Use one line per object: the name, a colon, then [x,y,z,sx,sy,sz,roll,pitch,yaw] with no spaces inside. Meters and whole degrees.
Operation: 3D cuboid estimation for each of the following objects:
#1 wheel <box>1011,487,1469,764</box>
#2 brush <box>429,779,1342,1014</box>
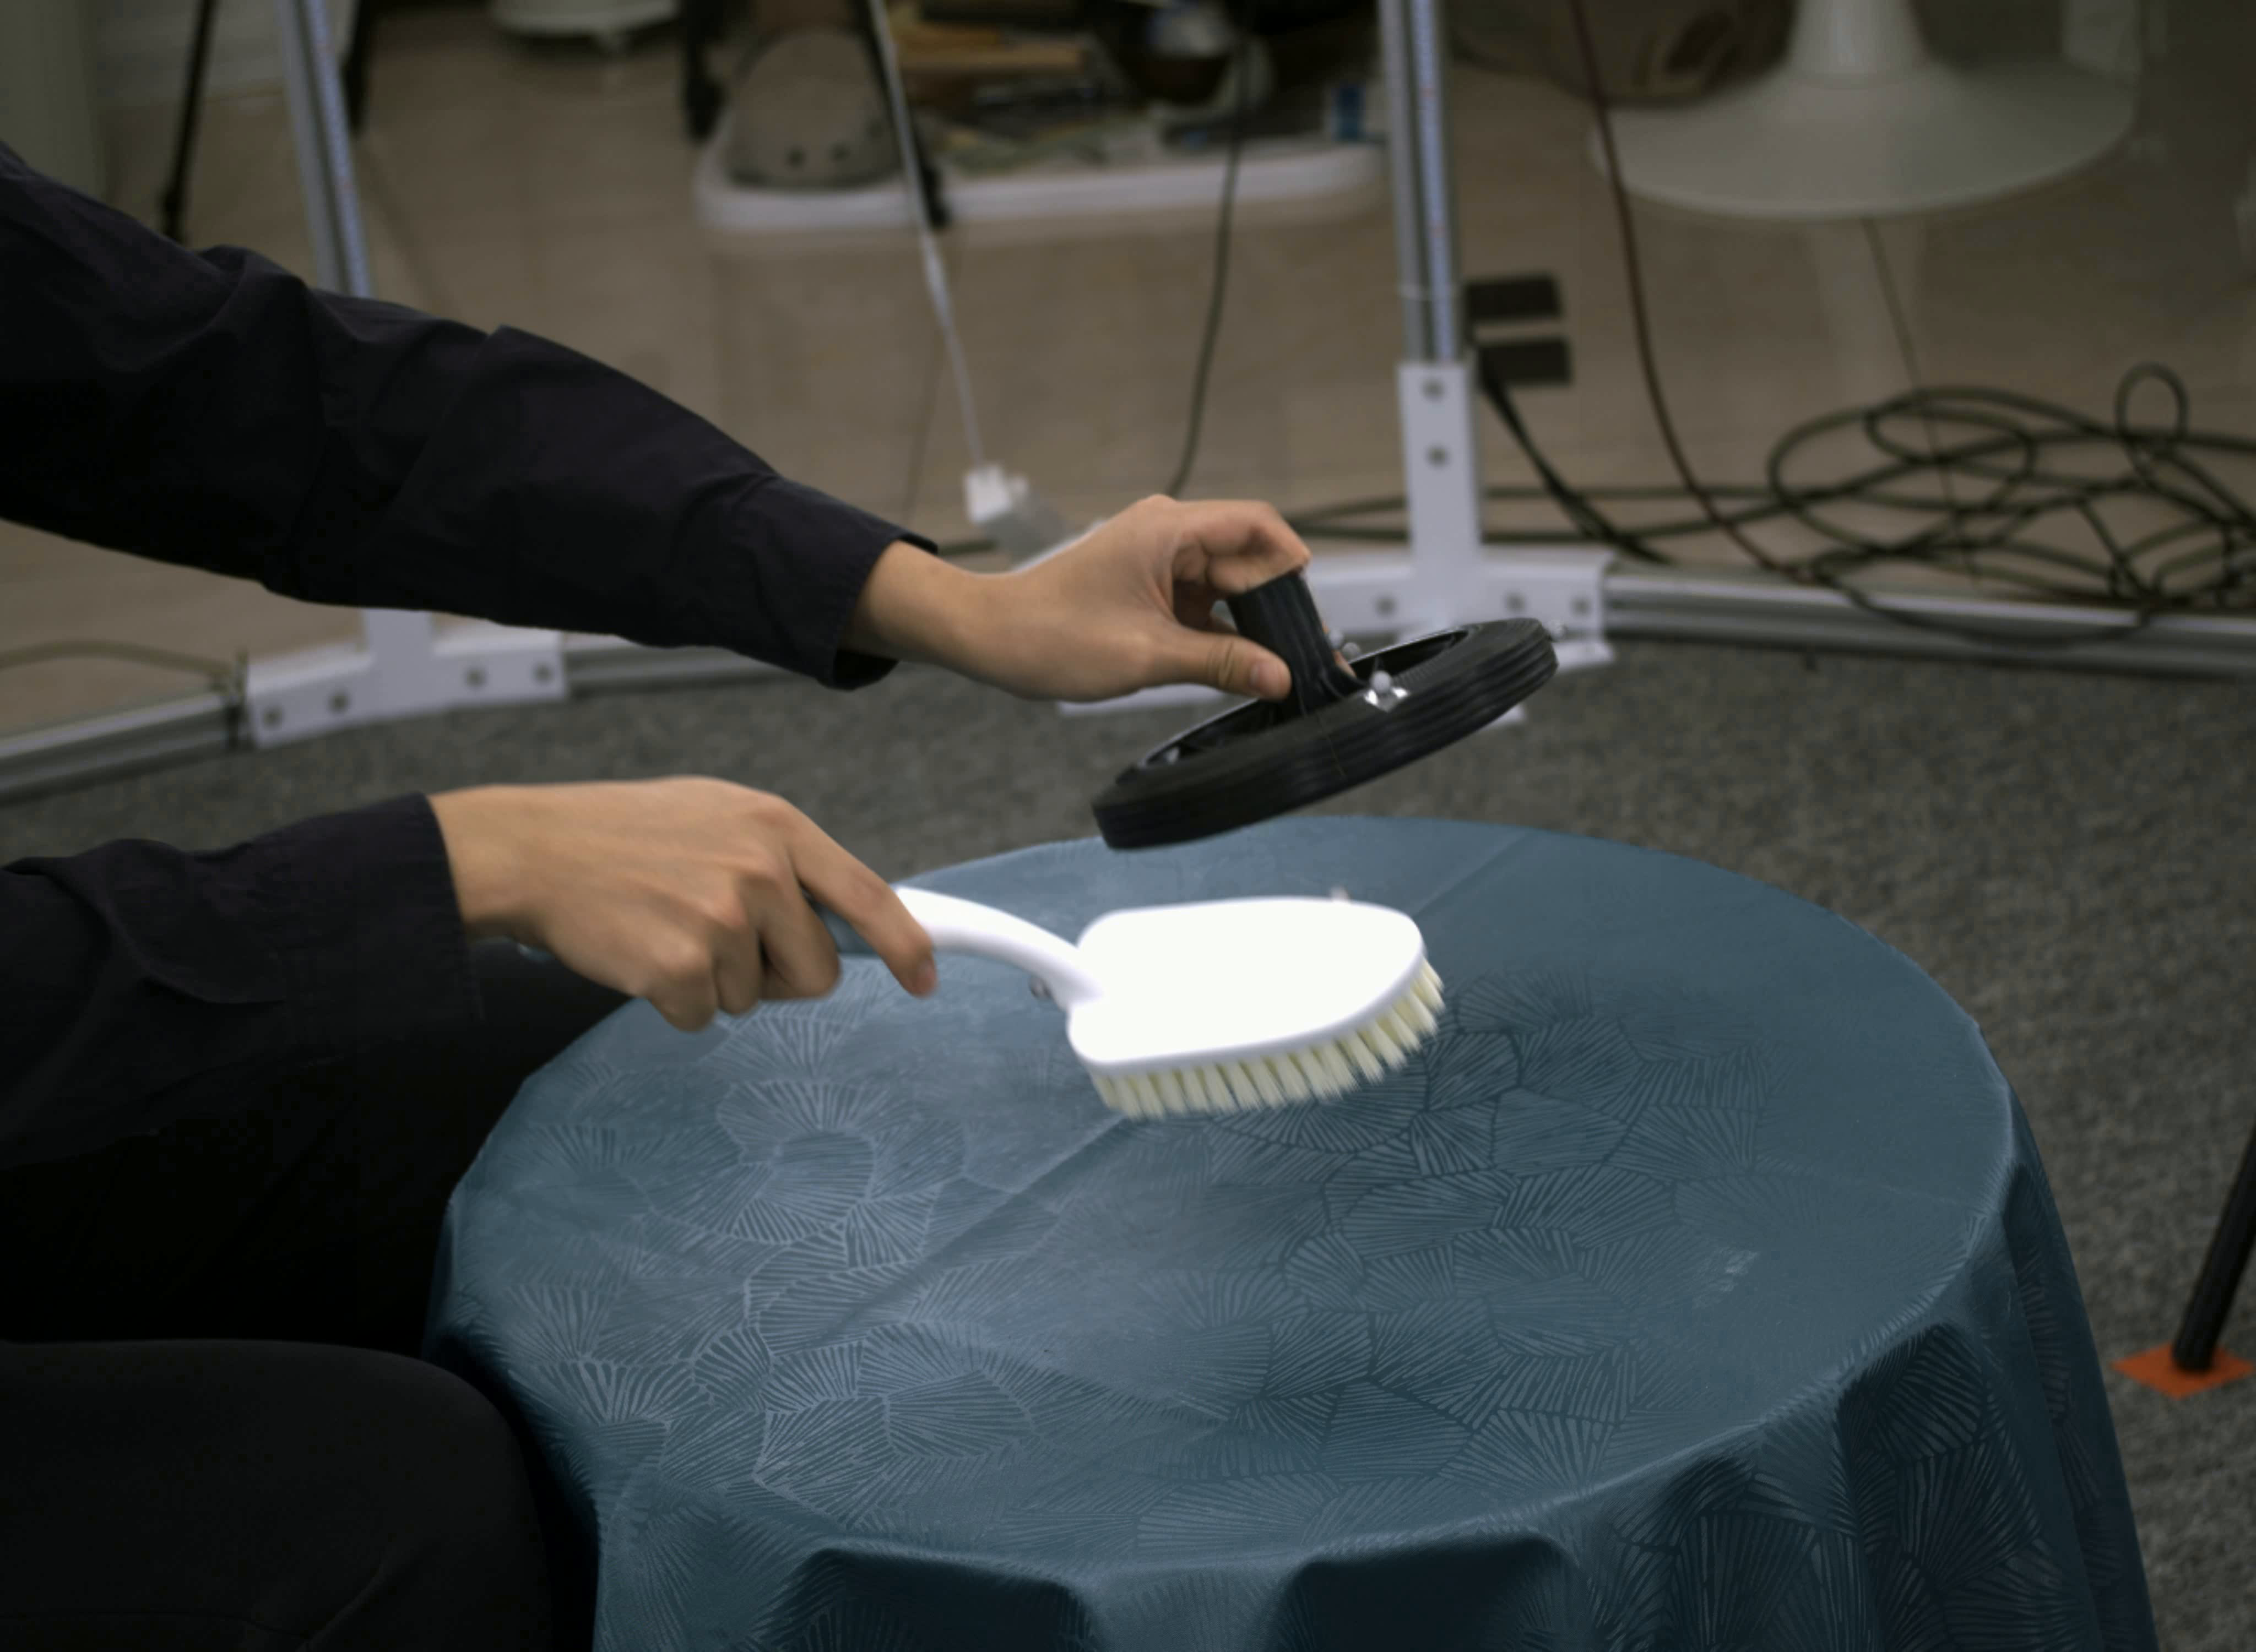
wheel: [0.035,-0.089,2.201,0.188,0.079,0.188,-27,8,-29]
brush: [-0.086,0.022,2.026,0.325,0.085,0.082,2,15,4]
